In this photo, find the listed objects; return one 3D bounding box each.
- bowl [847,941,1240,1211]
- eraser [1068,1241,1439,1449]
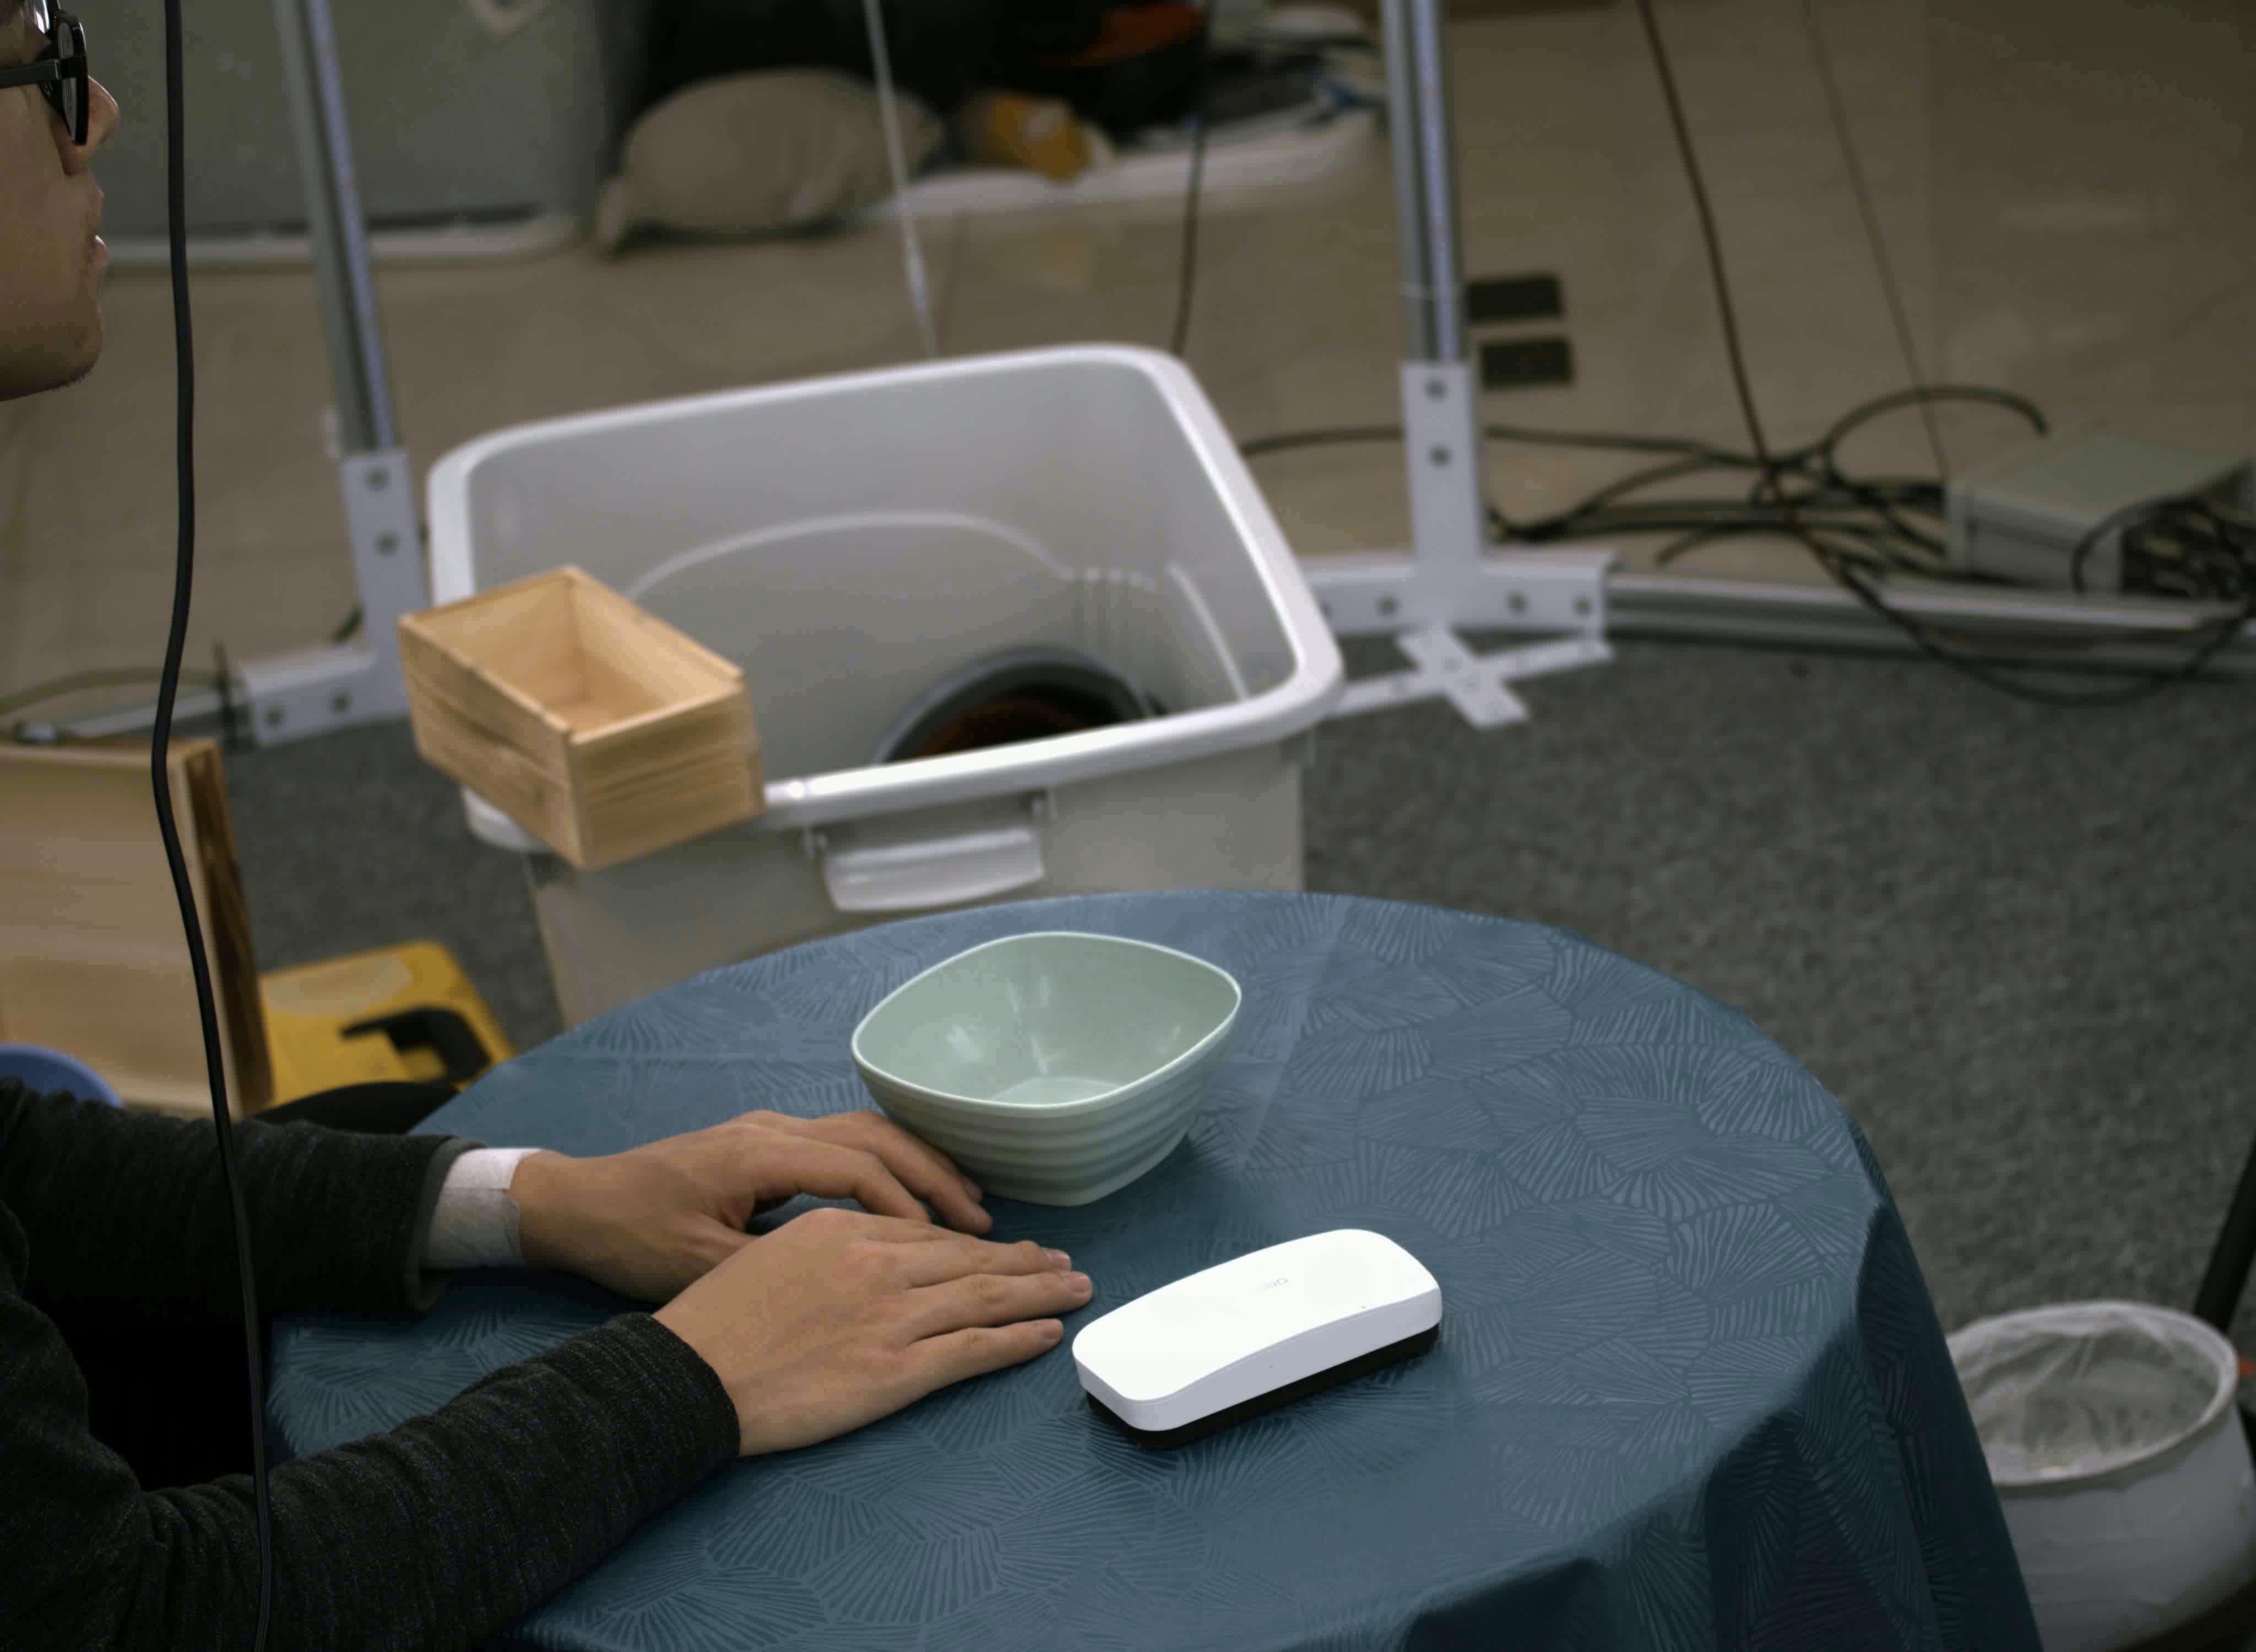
[{"bbox_3d":[-0.030,0.101,2.173,0.151,0.059,0.149,-4,24,2],"label":"bowl"},{"bbox_3d":[0.045,0.180,2.011,0.130,0.035,0.063,-17,25,-25],"label":"eraser"}]
